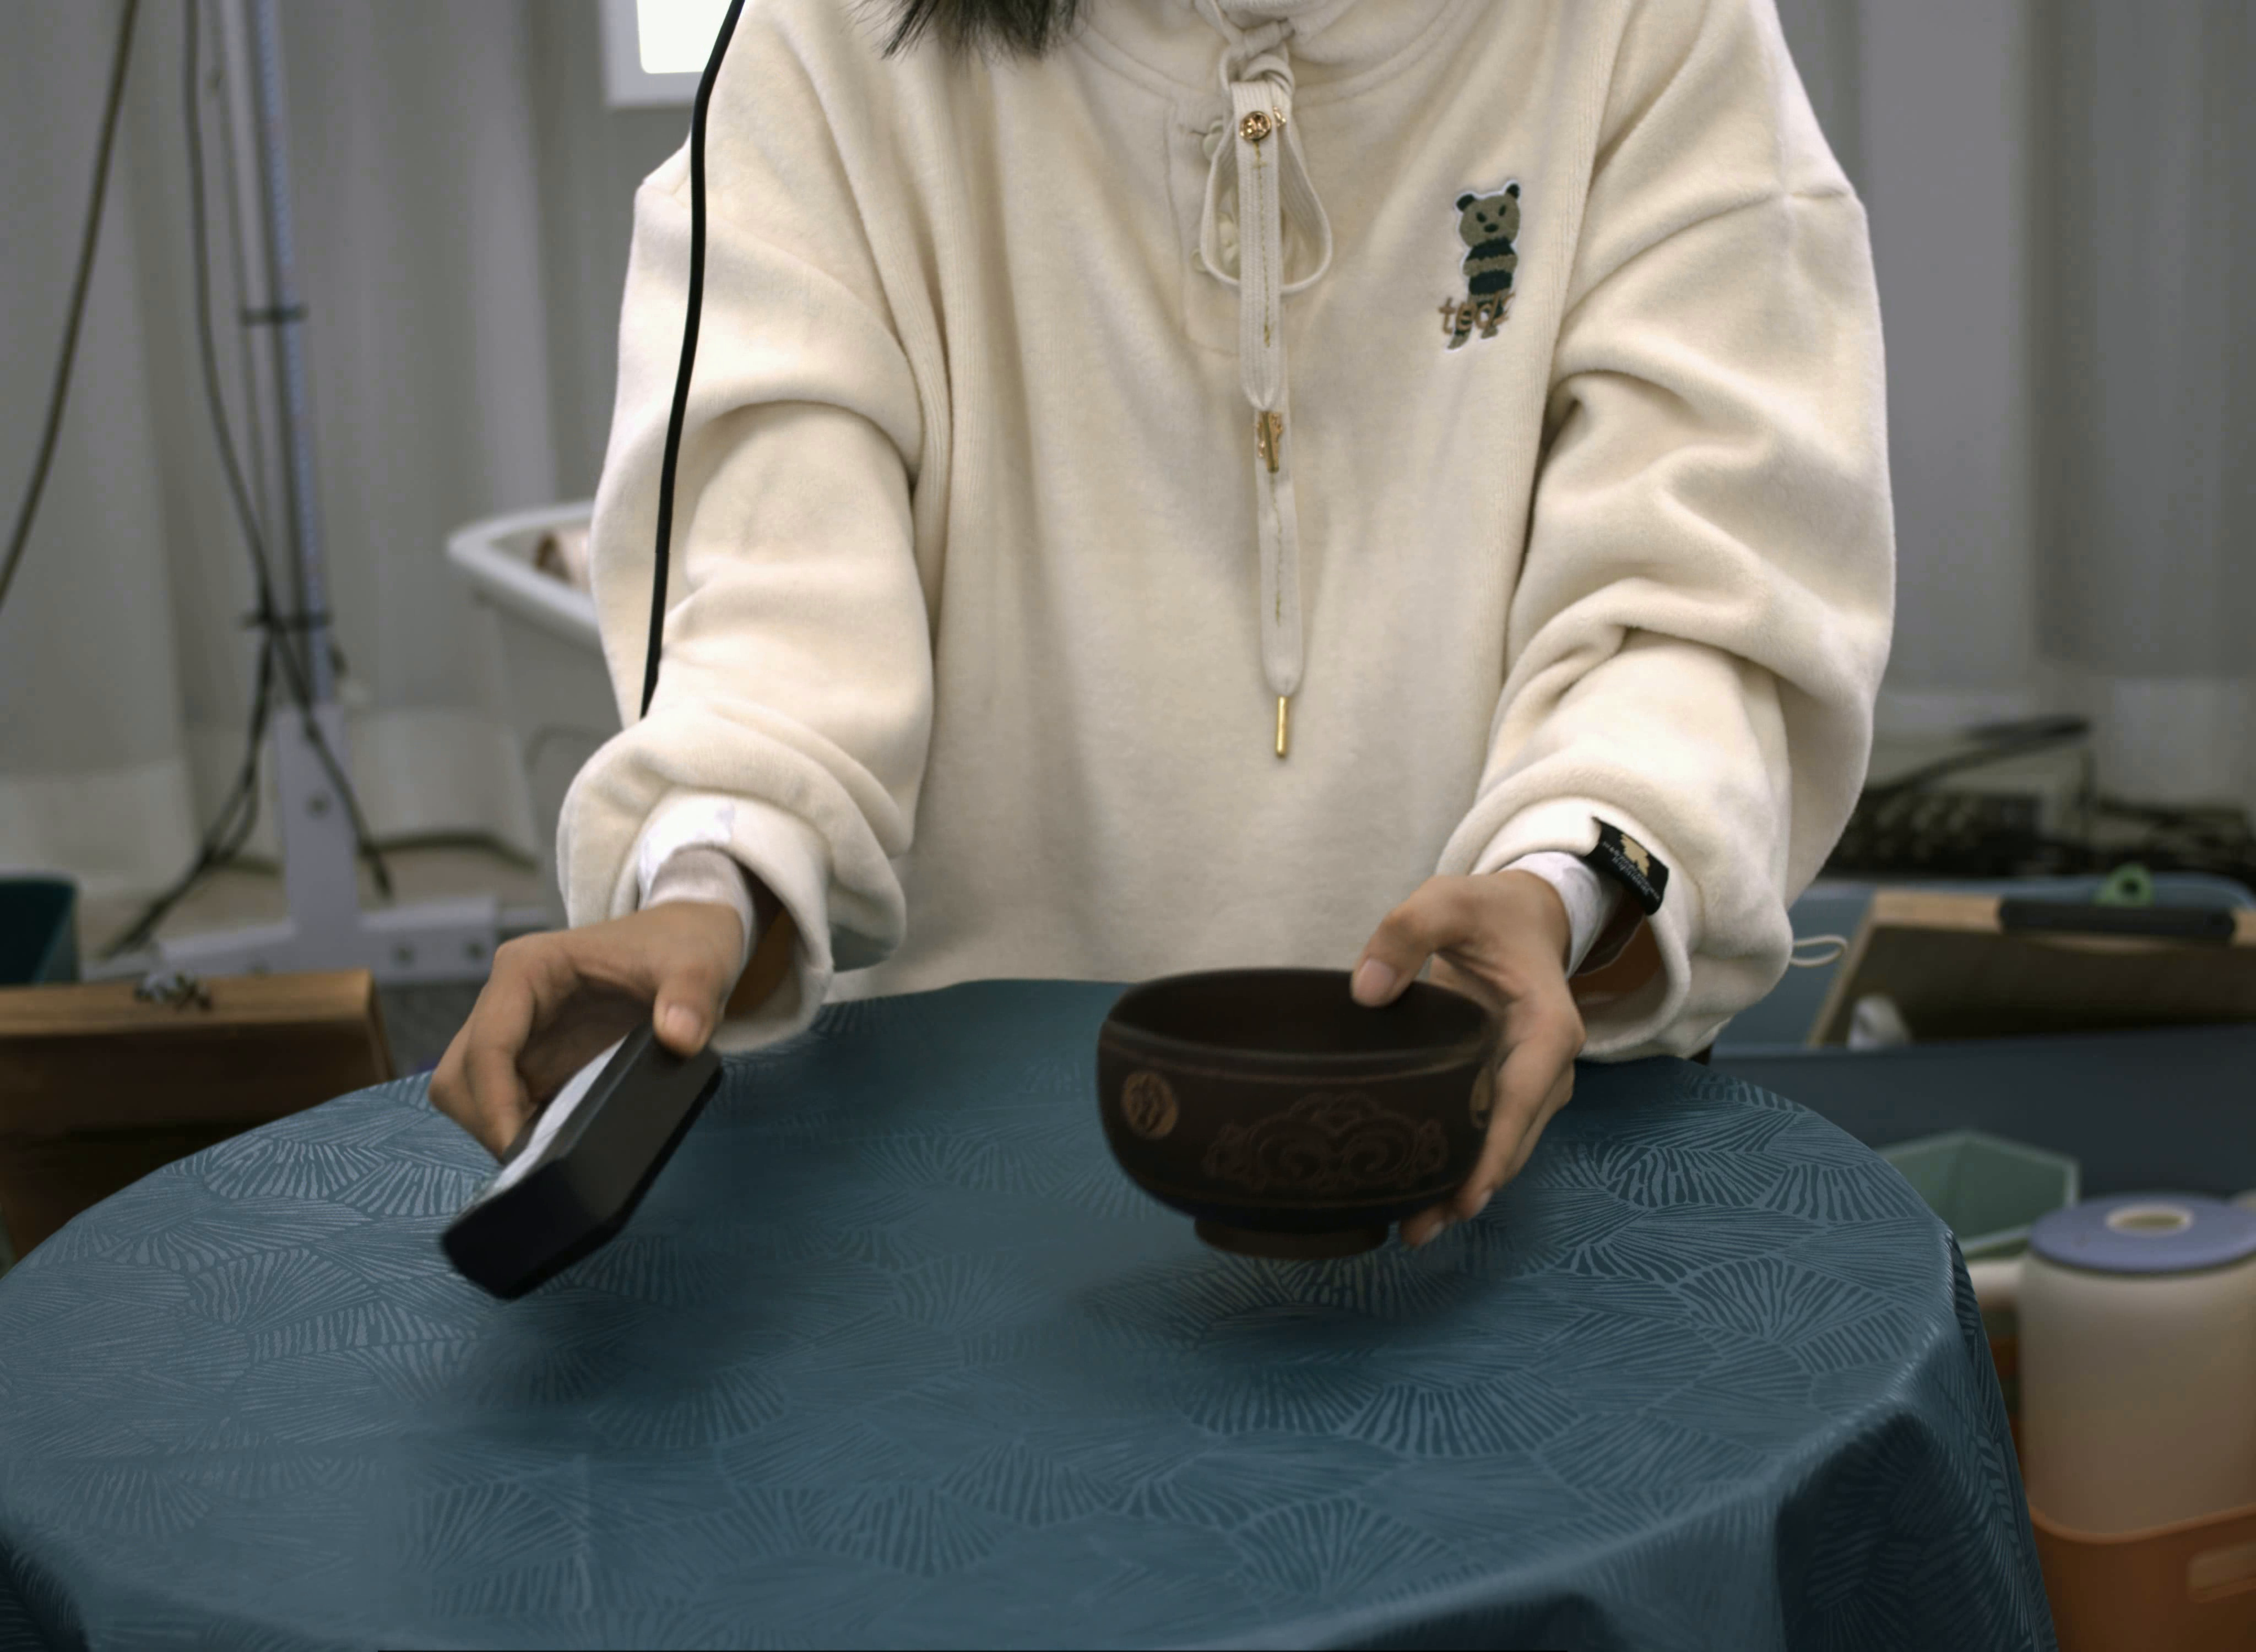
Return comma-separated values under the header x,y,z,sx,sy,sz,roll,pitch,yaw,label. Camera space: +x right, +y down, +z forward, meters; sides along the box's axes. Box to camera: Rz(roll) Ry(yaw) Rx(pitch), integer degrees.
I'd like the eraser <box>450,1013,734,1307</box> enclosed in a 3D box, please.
x,y,z,sx,sy,sz,roll,pitch,yaw,label
-0.155,0.096,1.601,0.053,0.030,0.126,-34,9,18,eraser

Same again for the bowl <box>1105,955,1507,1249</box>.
x,y,z,sx,sy,sz,roll,pitch,yaw,label
0.052,0.083,1.605,0.117,0.070,0.118,2,10,-1,bowl
